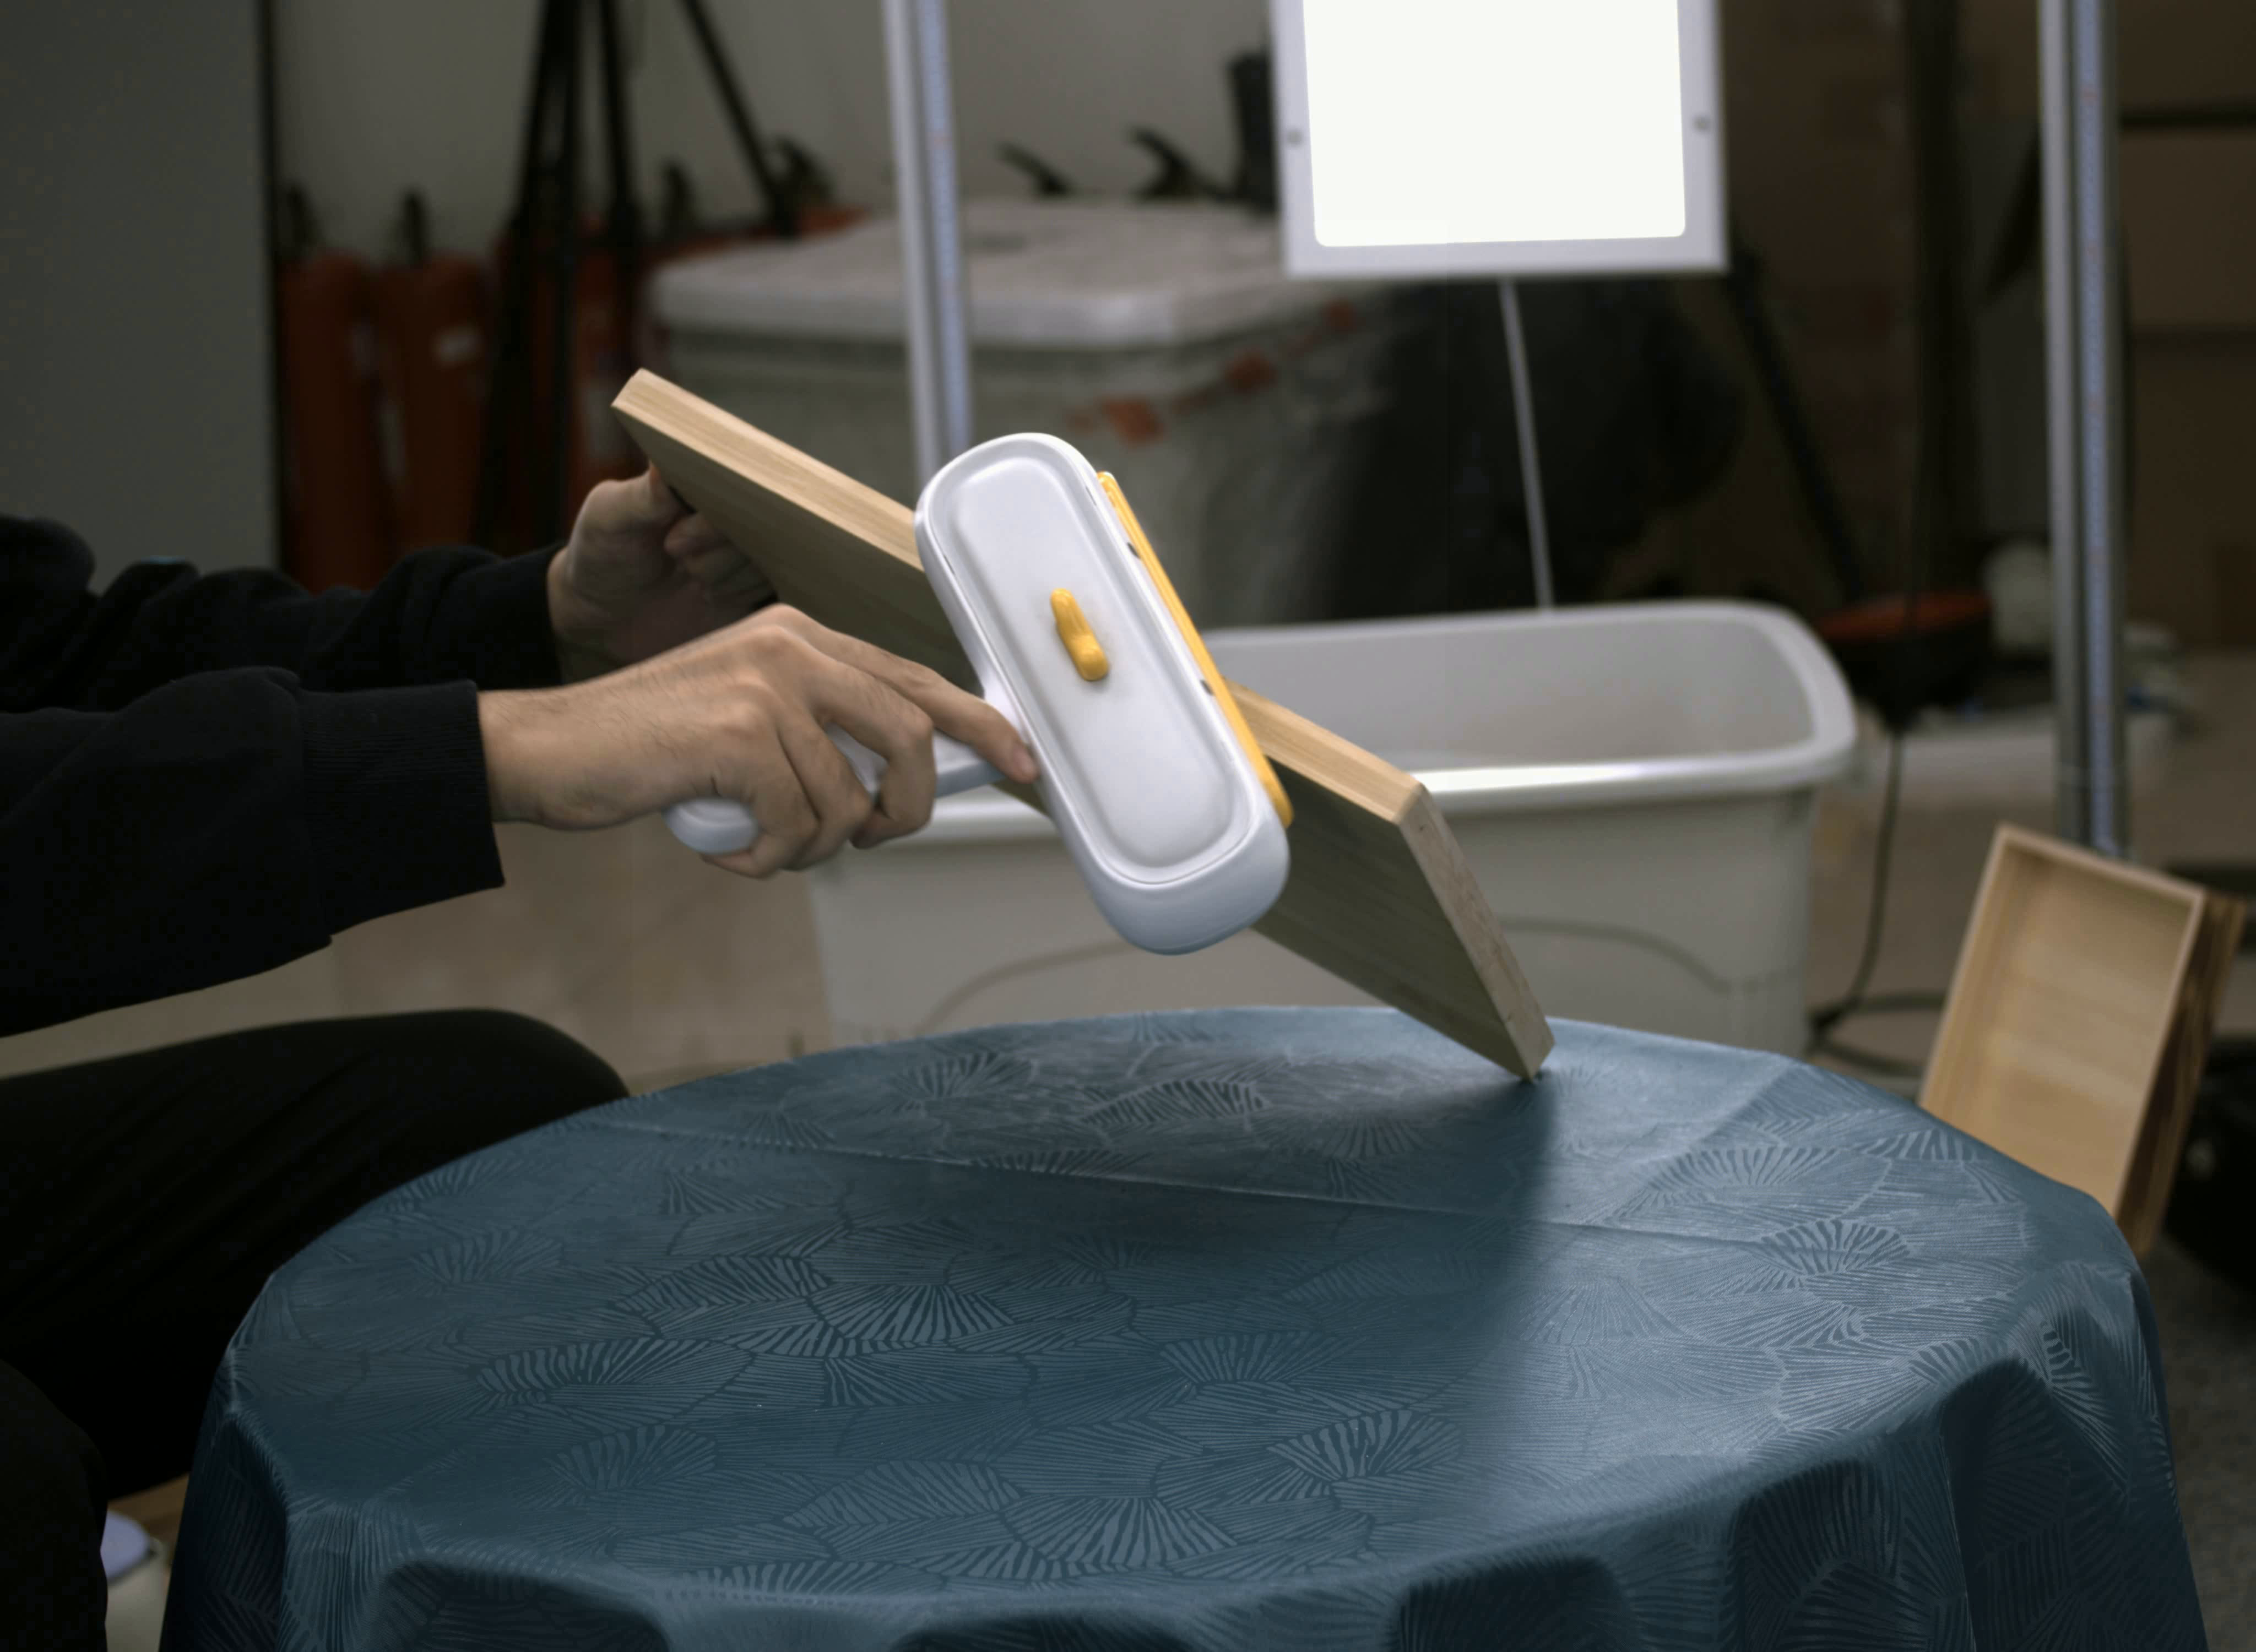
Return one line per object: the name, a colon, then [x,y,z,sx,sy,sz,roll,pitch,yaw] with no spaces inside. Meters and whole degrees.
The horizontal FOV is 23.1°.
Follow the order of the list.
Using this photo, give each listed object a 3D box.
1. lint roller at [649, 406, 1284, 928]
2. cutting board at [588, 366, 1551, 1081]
lint roller: [-0.065,-0.032,1.782,0.190,0.194,0.074,-25,-22,-11]
cutting board: [-0.019,-0.035,1.961,0.353,0.023,0.248,29,-13,26]
